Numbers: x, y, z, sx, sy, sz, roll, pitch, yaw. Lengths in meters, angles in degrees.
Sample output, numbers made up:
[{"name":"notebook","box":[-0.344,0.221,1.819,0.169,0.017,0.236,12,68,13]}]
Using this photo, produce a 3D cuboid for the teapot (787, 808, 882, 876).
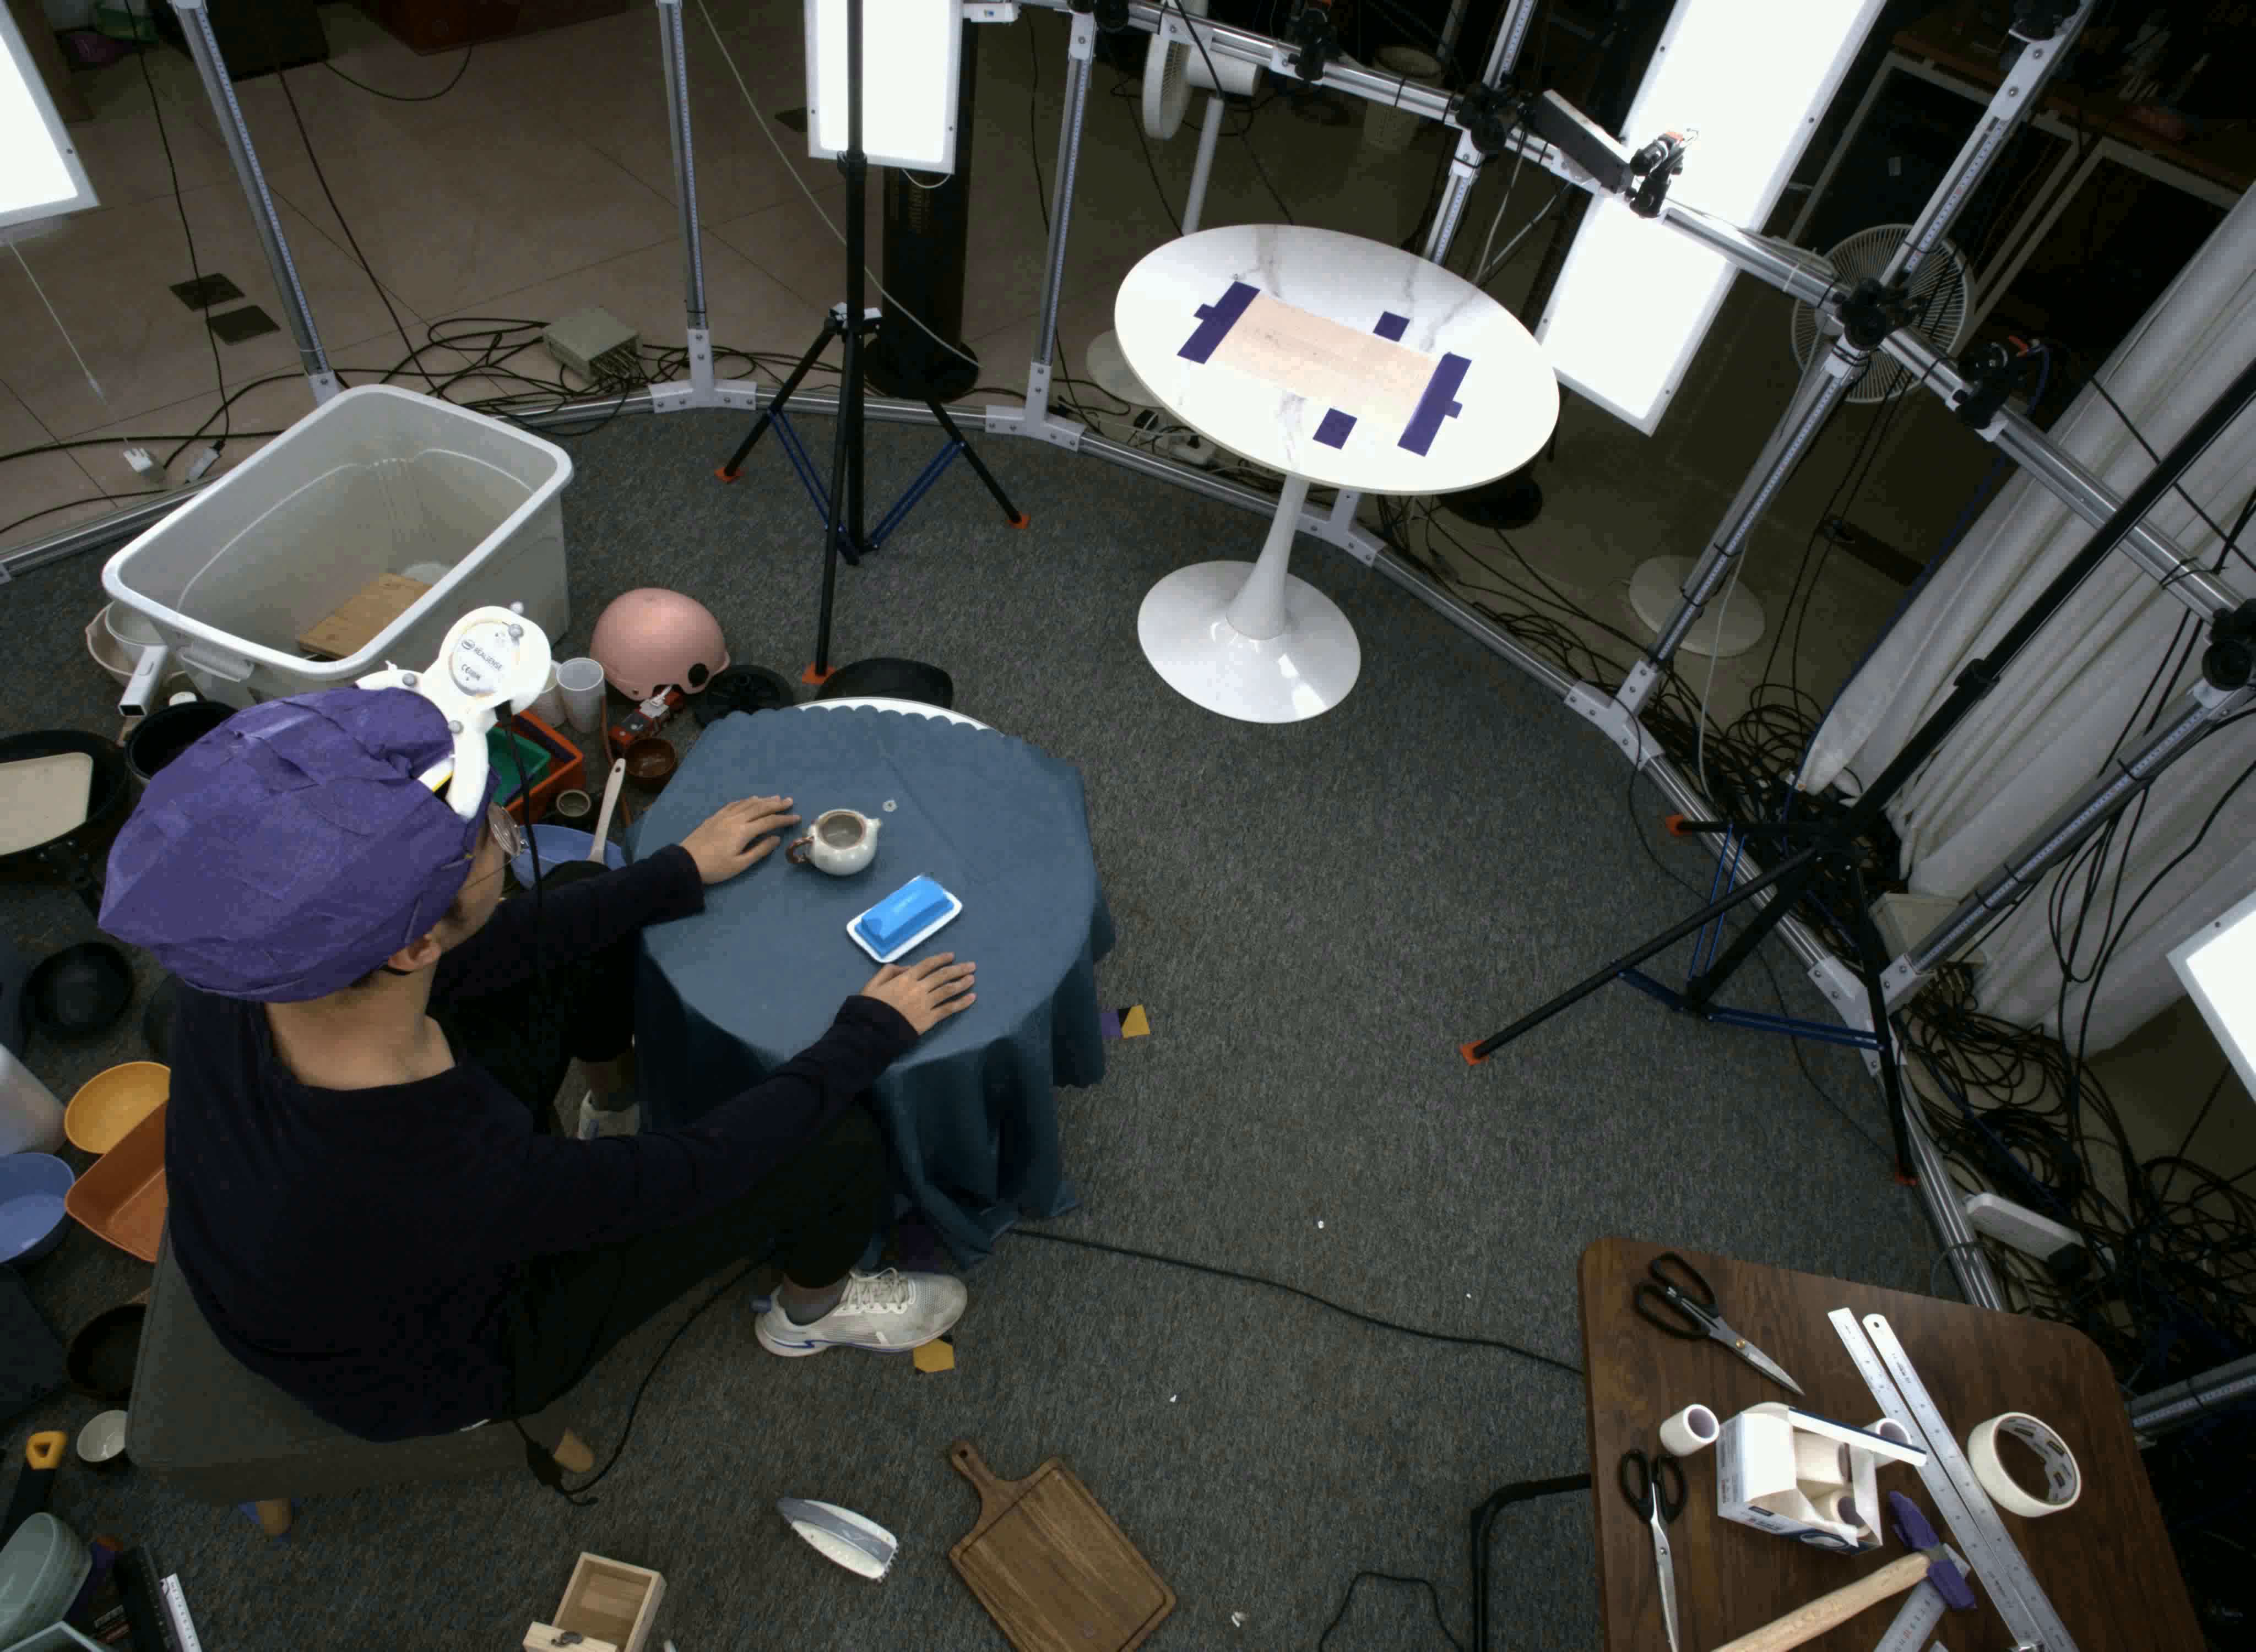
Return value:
[{"name":"teapot","box":[-0.380,0.022,1.682,0.129,0.060,0.090,-17,61,-26]}]

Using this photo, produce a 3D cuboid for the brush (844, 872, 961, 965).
[{"name":"brush","box":[-0.284,0.108,1.641,0.081,0.057,0.144,41,52,22]}]
